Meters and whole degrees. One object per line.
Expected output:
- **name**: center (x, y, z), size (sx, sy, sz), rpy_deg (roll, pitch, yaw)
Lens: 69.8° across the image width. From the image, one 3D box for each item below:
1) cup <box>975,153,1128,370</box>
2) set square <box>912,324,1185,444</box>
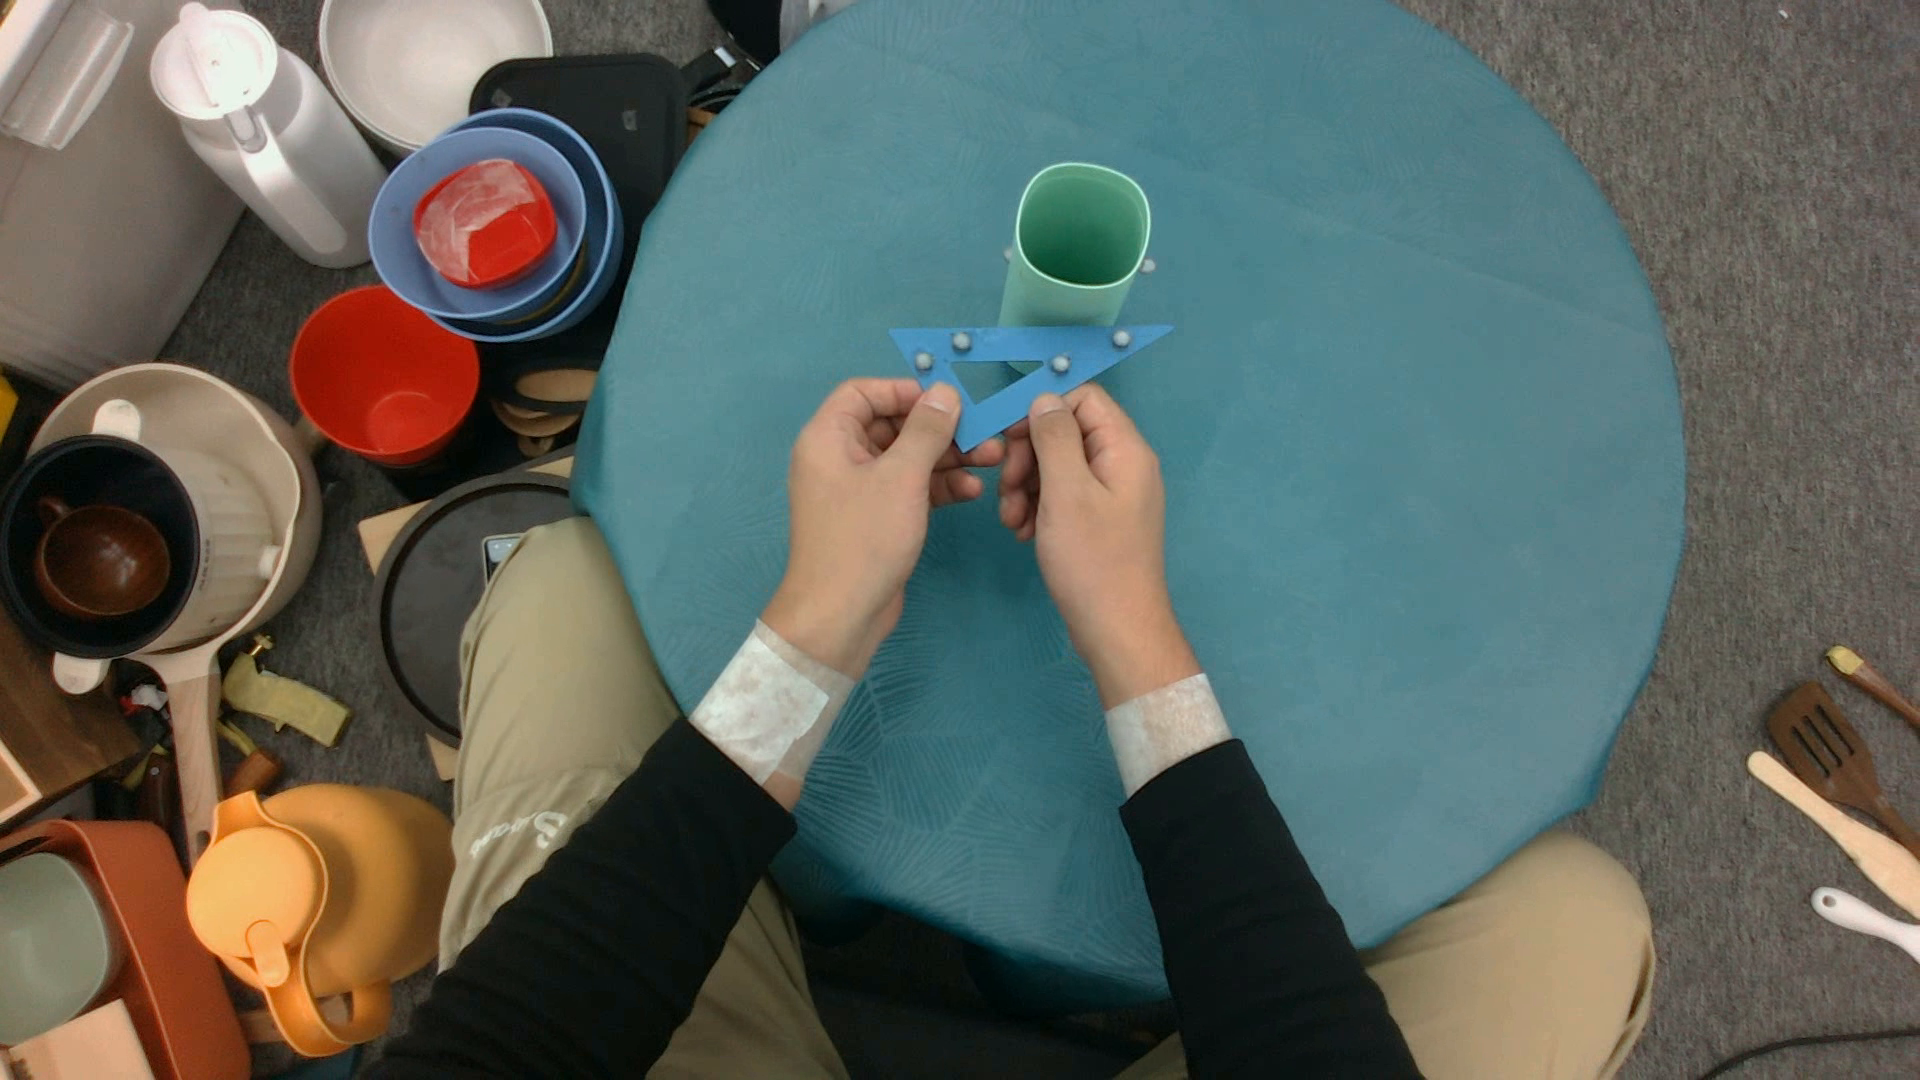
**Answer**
- **cup**: center (0.043, -0.137, 0.708), size (0.067, 0.132, 0.067), rpy_deg (1, 76, -4)
- **set square**: center (0.041, -0.073, 0.654), size (0.132, 0.006, 0.061), rpy_deg (3, 78, -1)
